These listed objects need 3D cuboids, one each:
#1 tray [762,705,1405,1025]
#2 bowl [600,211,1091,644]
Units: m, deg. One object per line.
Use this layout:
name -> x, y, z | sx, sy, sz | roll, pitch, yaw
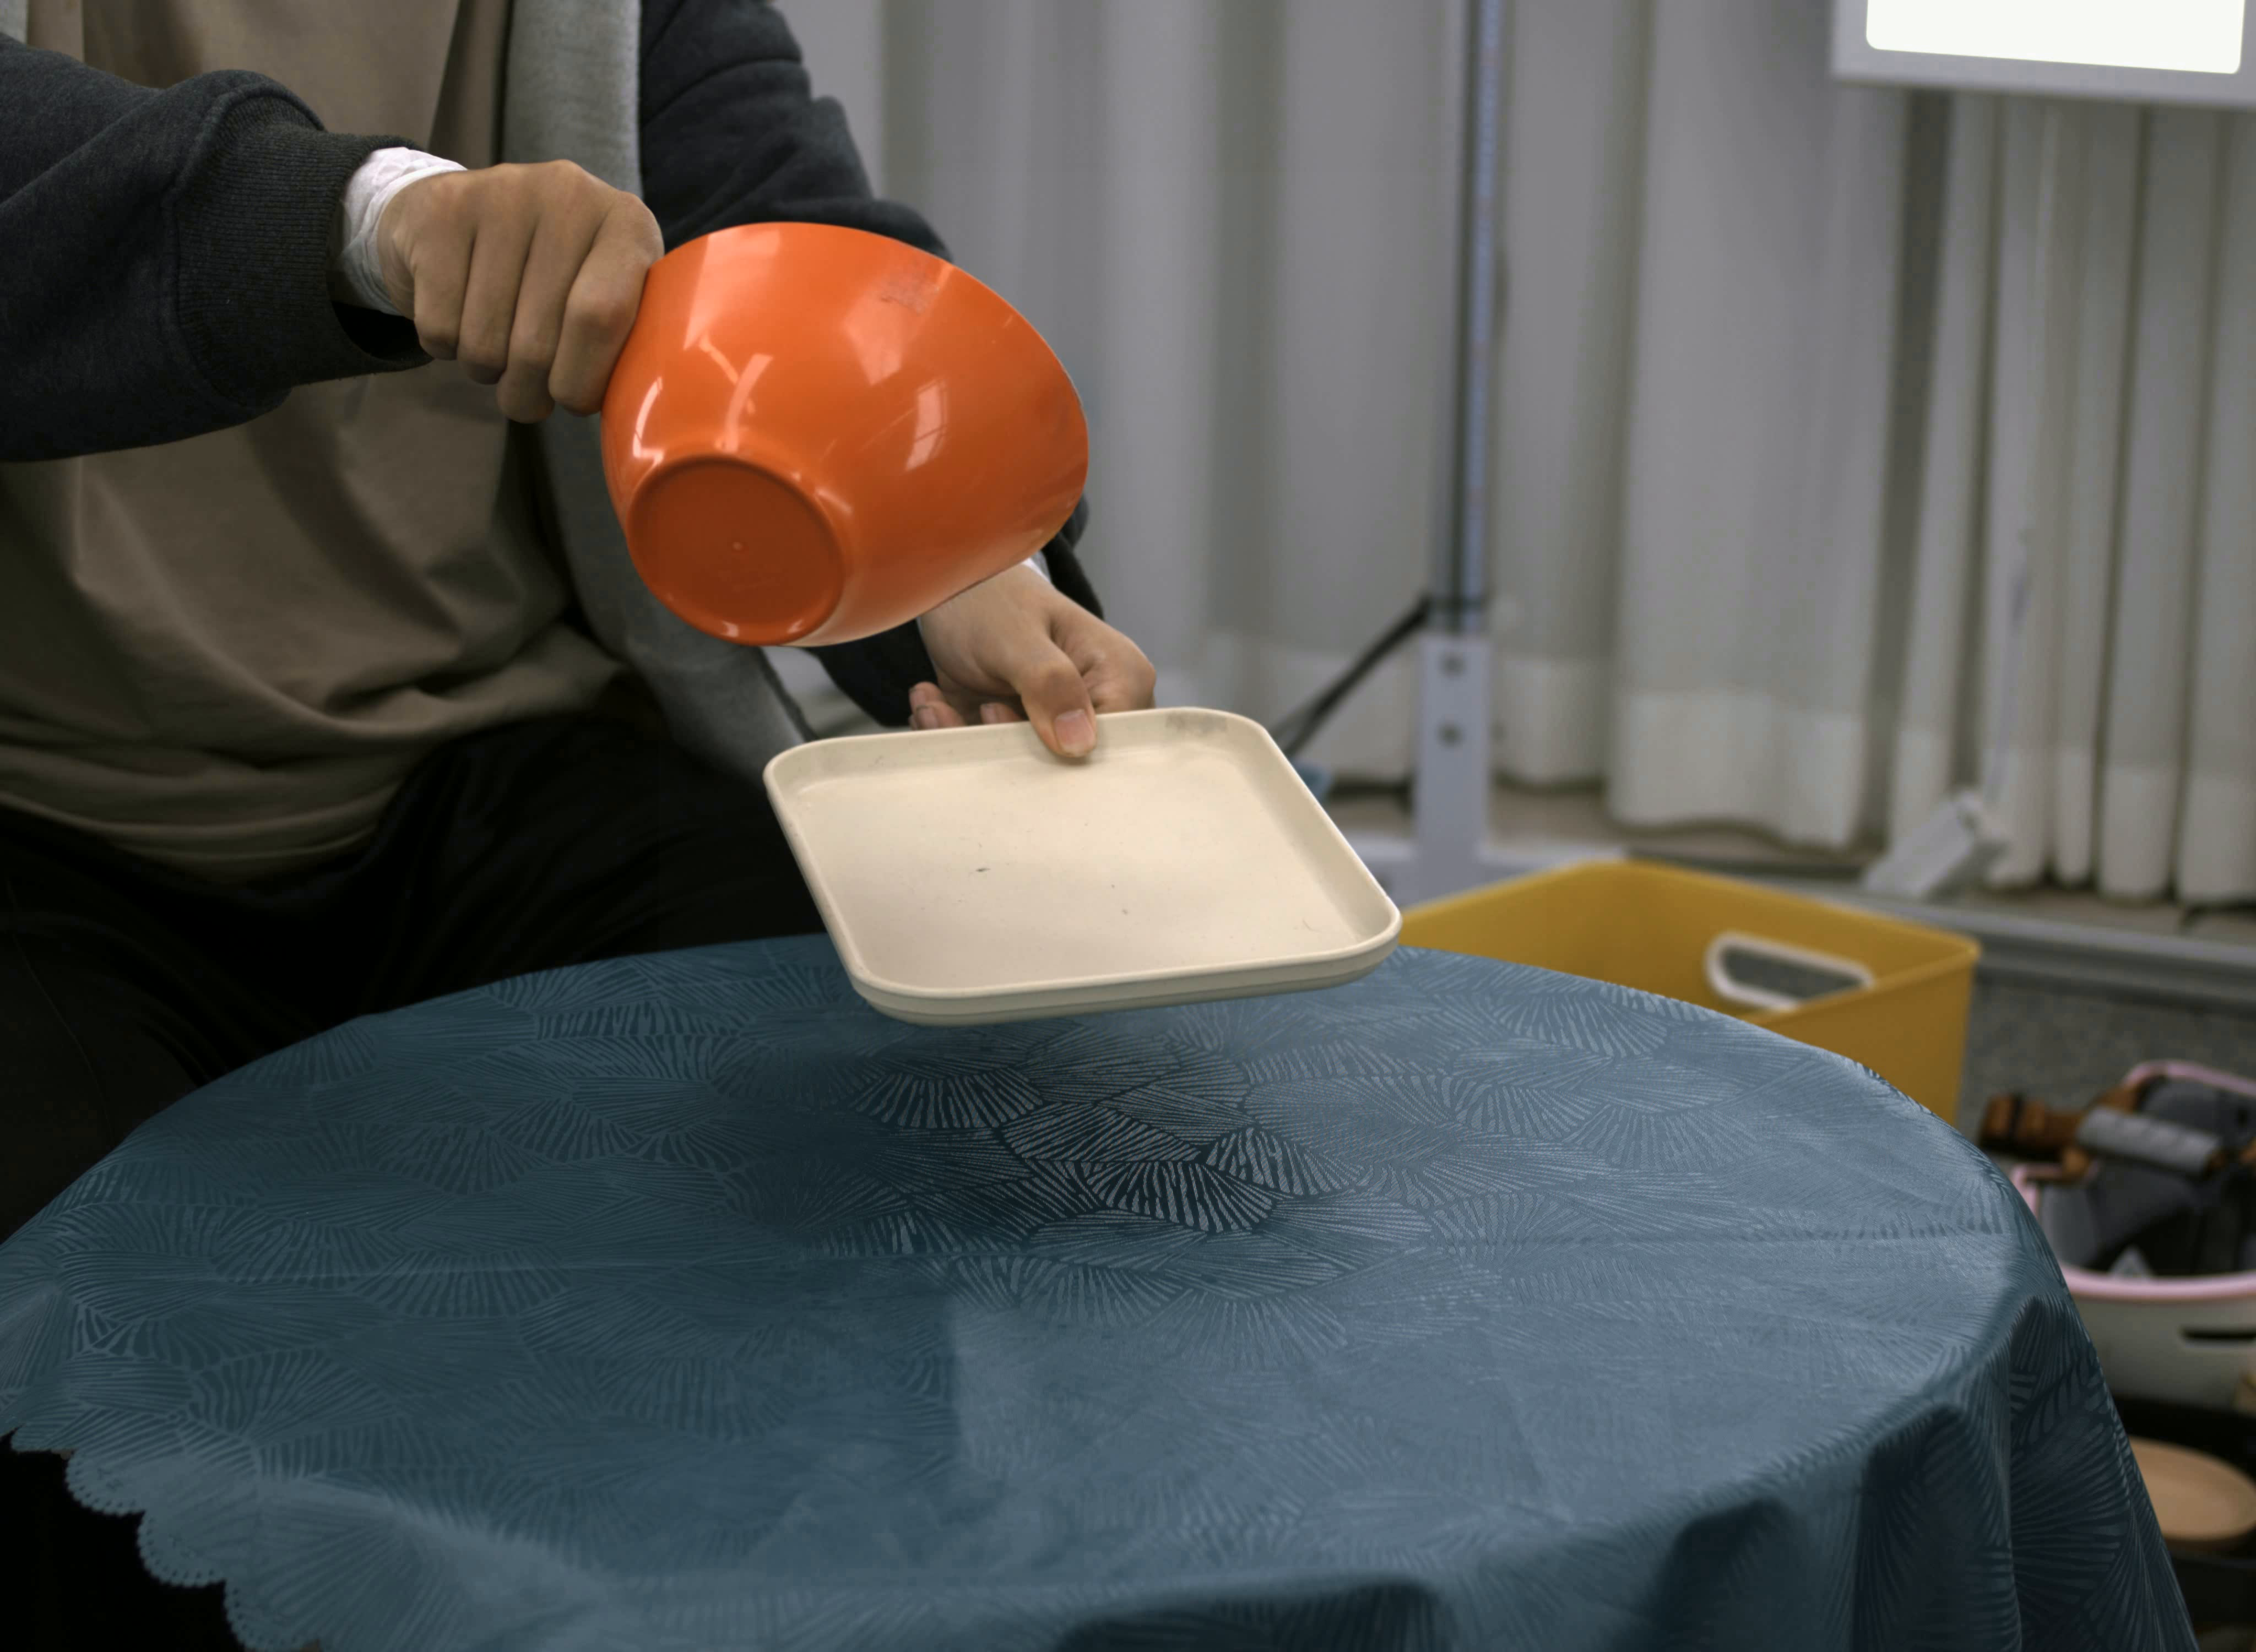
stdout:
tray -> -0.018, 0.011, 1.660 | 0.171, 0.017, 0.237 | -6, 20, -11
bowl -> -0.095, -0.101, 1.540 | 0.147, 0.150, 0.104 | 6, 37, 17
